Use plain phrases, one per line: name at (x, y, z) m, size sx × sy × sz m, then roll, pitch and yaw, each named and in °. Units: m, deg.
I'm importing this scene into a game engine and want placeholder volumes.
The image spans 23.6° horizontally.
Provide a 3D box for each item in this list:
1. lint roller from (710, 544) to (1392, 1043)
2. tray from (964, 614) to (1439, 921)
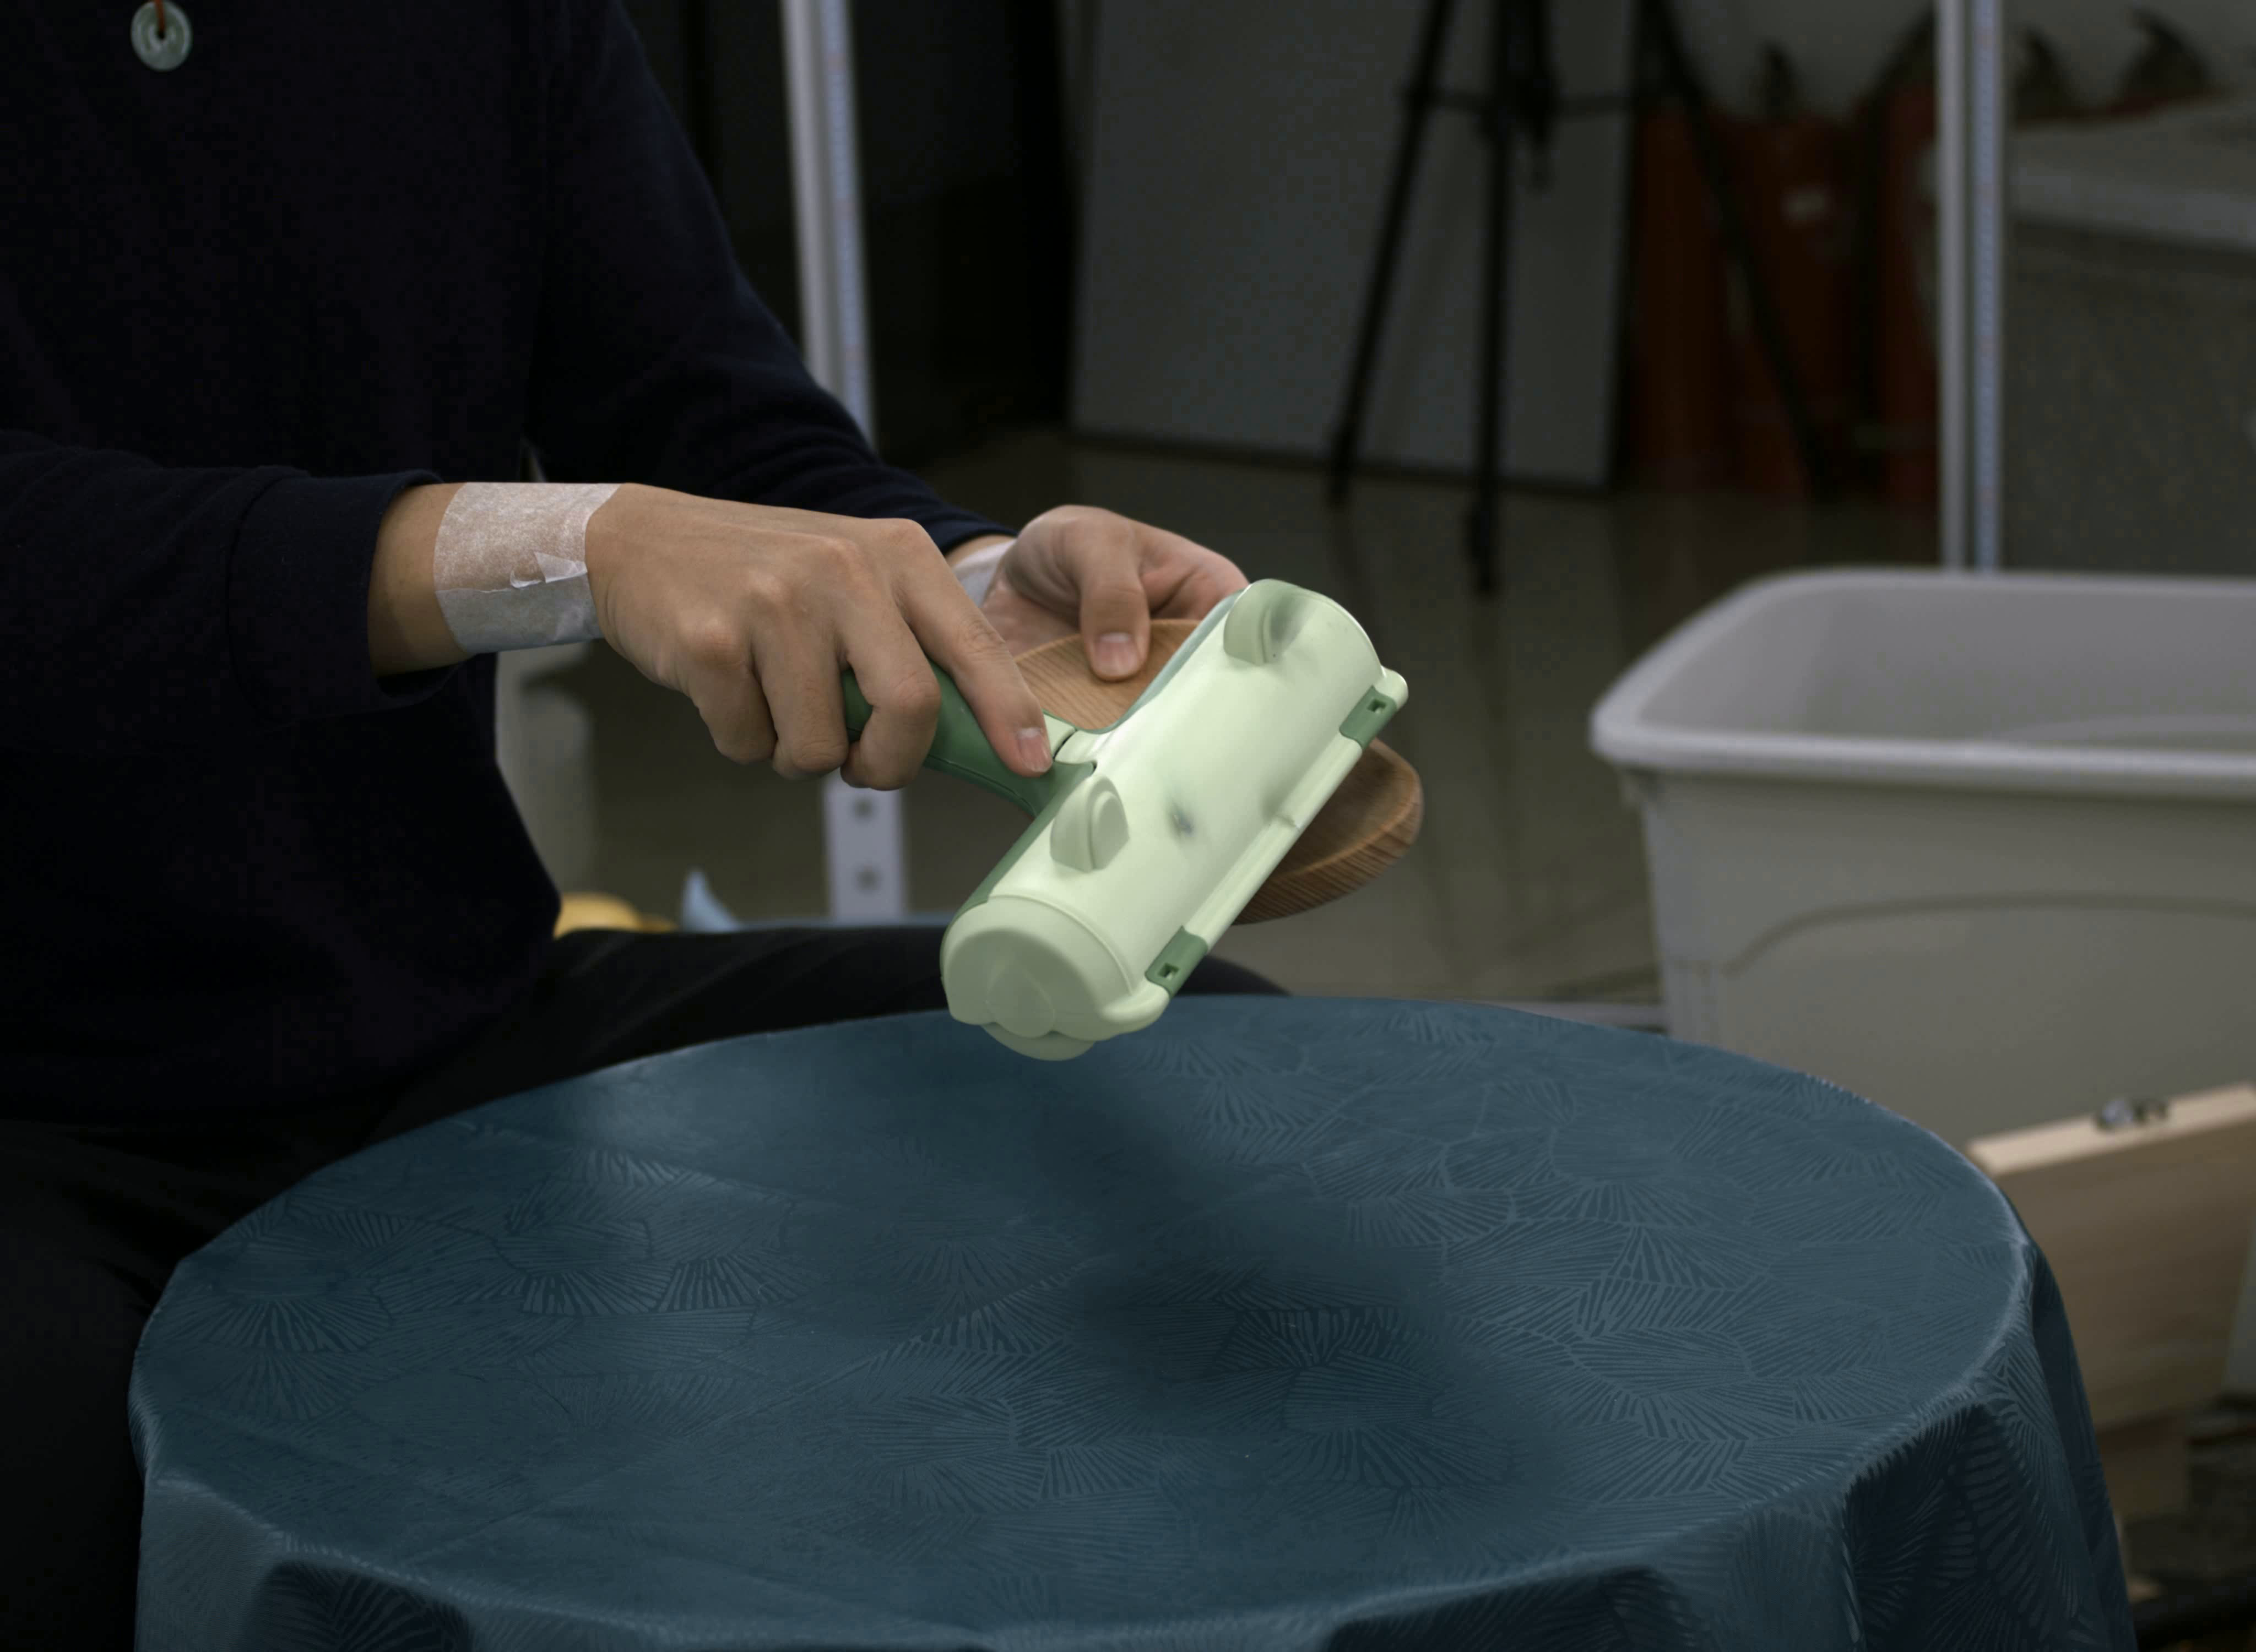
lint roller at (-0.034, -0.044, 1.556) m, size 0.183 × 0.083 × 0.197 m, roll 31°, pitch 42°, yaw 7°
tray at (0.020, -0.020, 1.653) m, size 0.100 × 0.020 × 0.233 m, roll -22°, pitch 26°, yaw -13°
